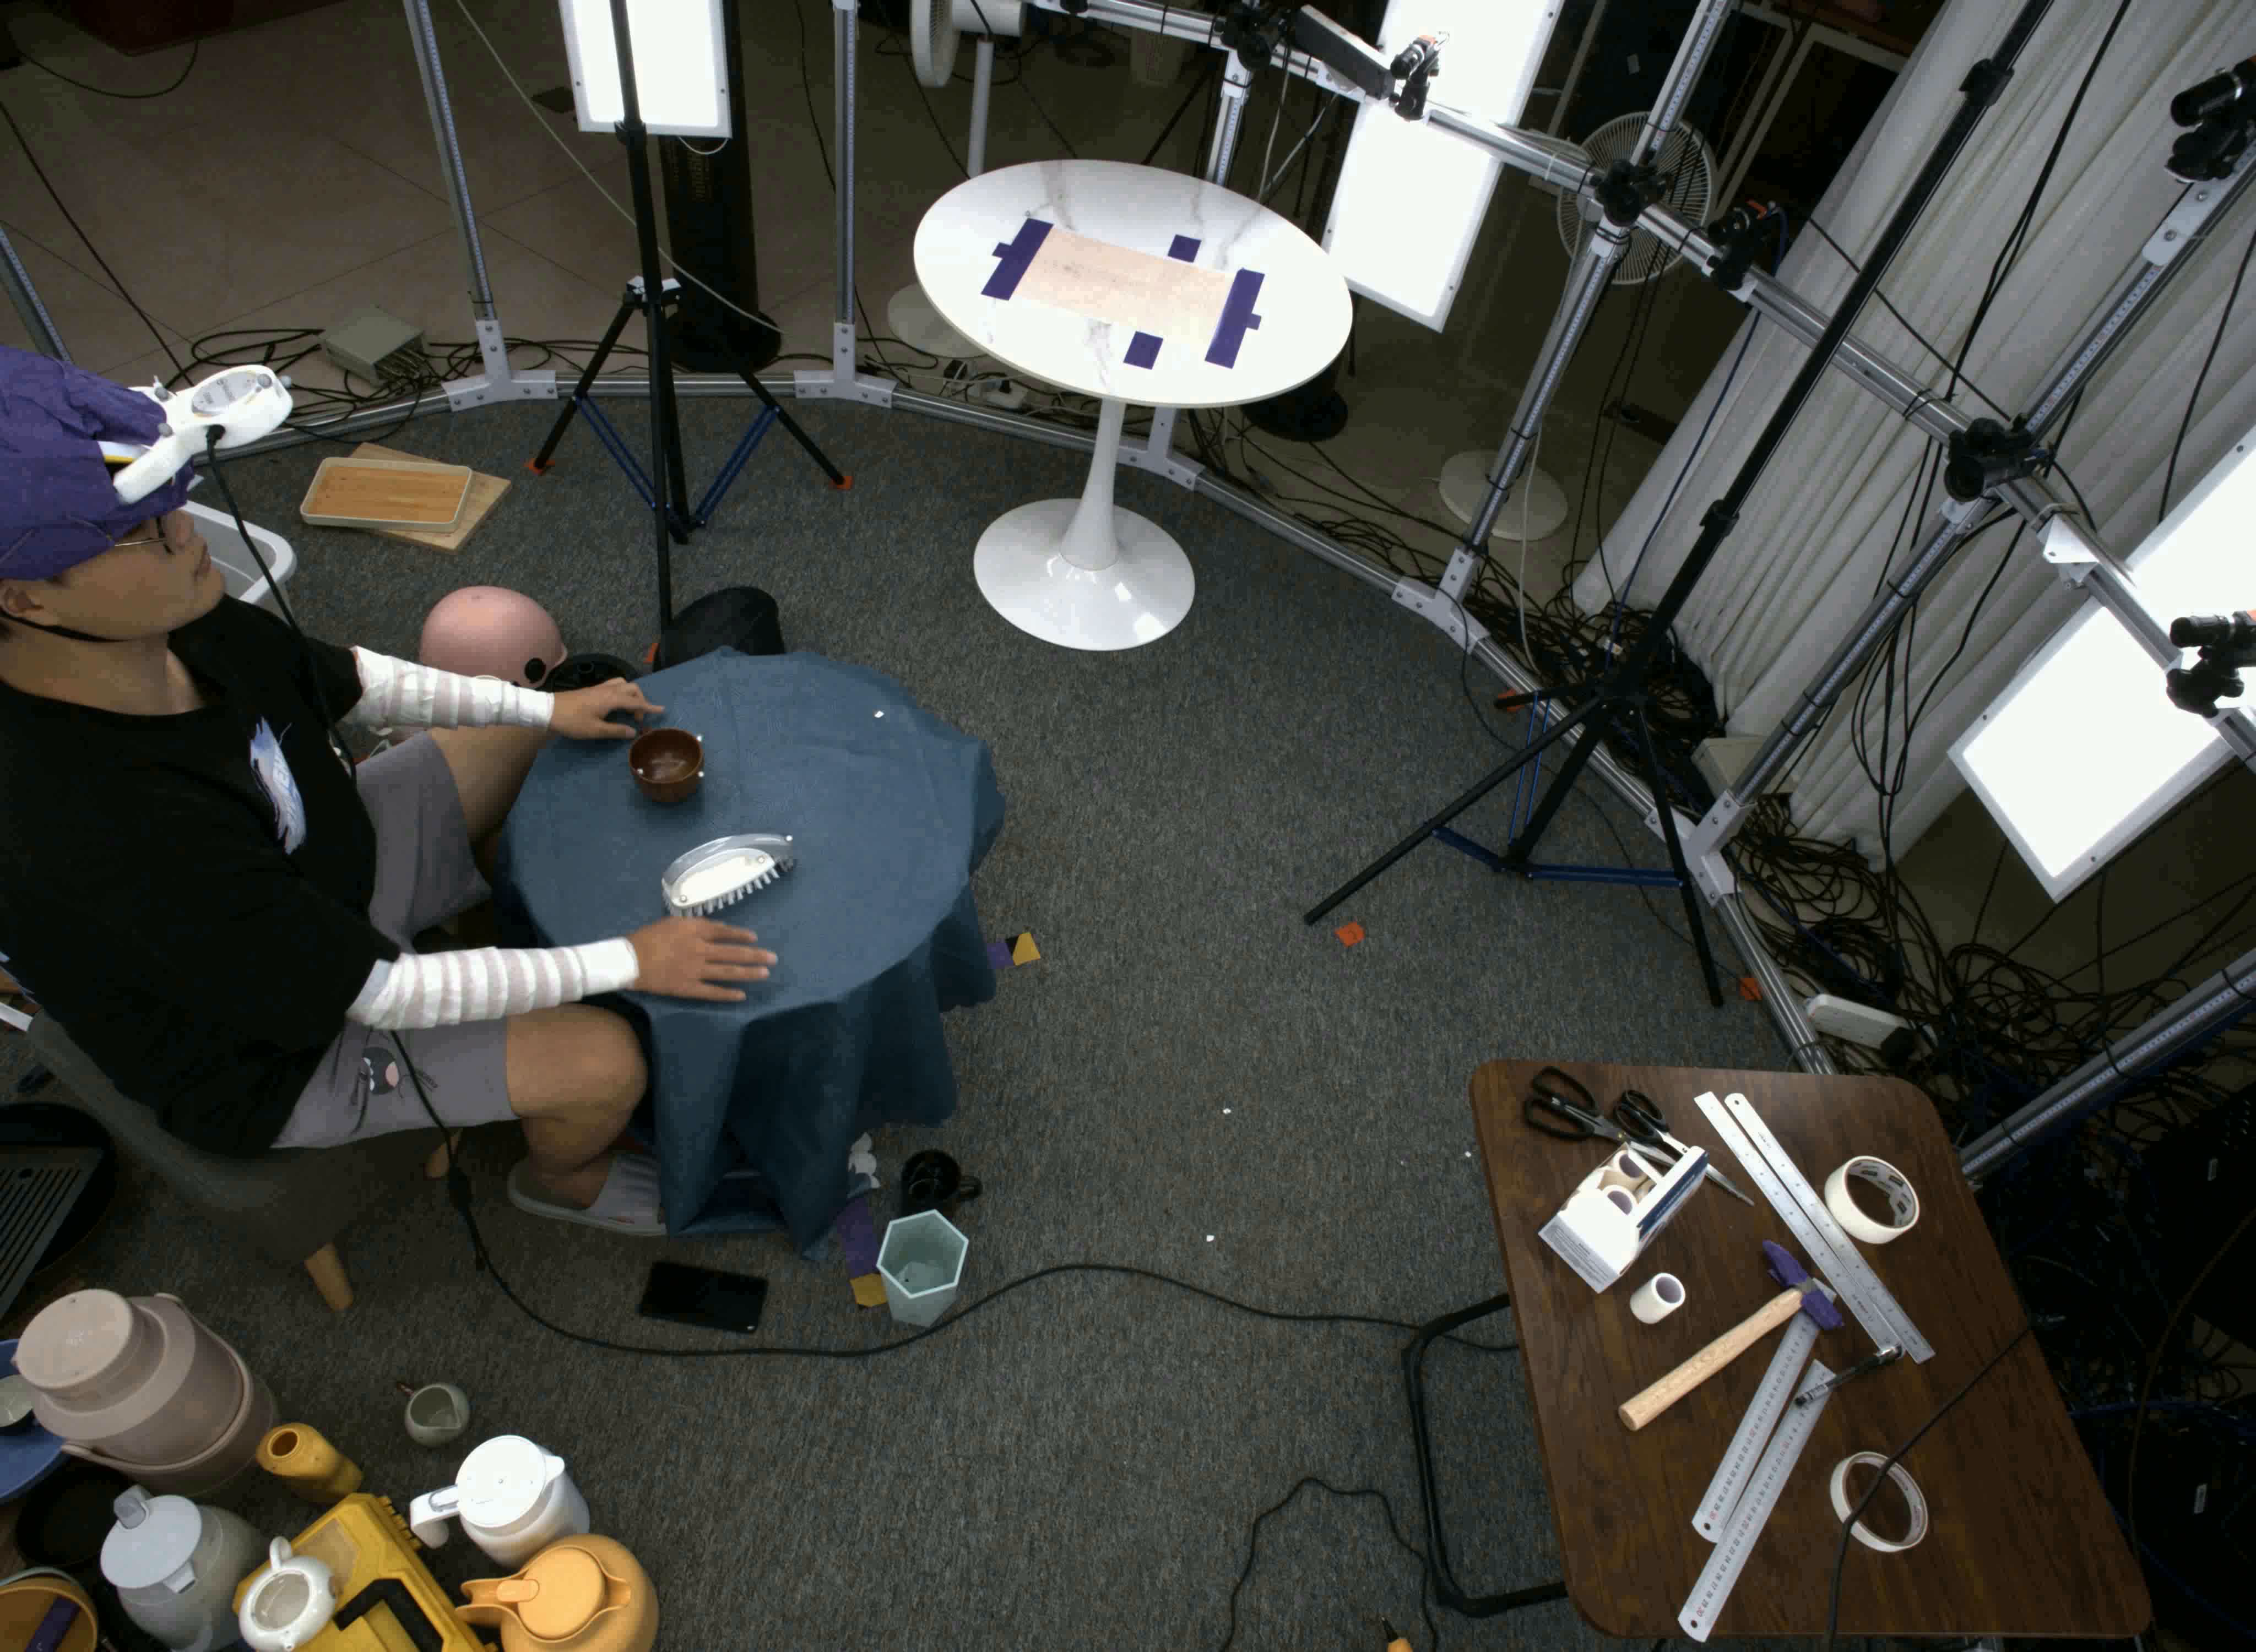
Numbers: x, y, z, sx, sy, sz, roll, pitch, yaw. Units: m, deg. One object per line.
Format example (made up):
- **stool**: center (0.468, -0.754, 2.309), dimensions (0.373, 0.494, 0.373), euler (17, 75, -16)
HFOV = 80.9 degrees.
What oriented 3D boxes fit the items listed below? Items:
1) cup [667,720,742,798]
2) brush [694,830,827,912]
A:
- **cup**: center (-0.569, -0.092, 1.724), dimensions (0.096, 0.069, 0.116), euler (-30, 64, -27)
- **brush**: center (-0.461, 0.038, 1.638), dimensions (0.176, 0.096, 0.060), euler (-20, 63, -28)
